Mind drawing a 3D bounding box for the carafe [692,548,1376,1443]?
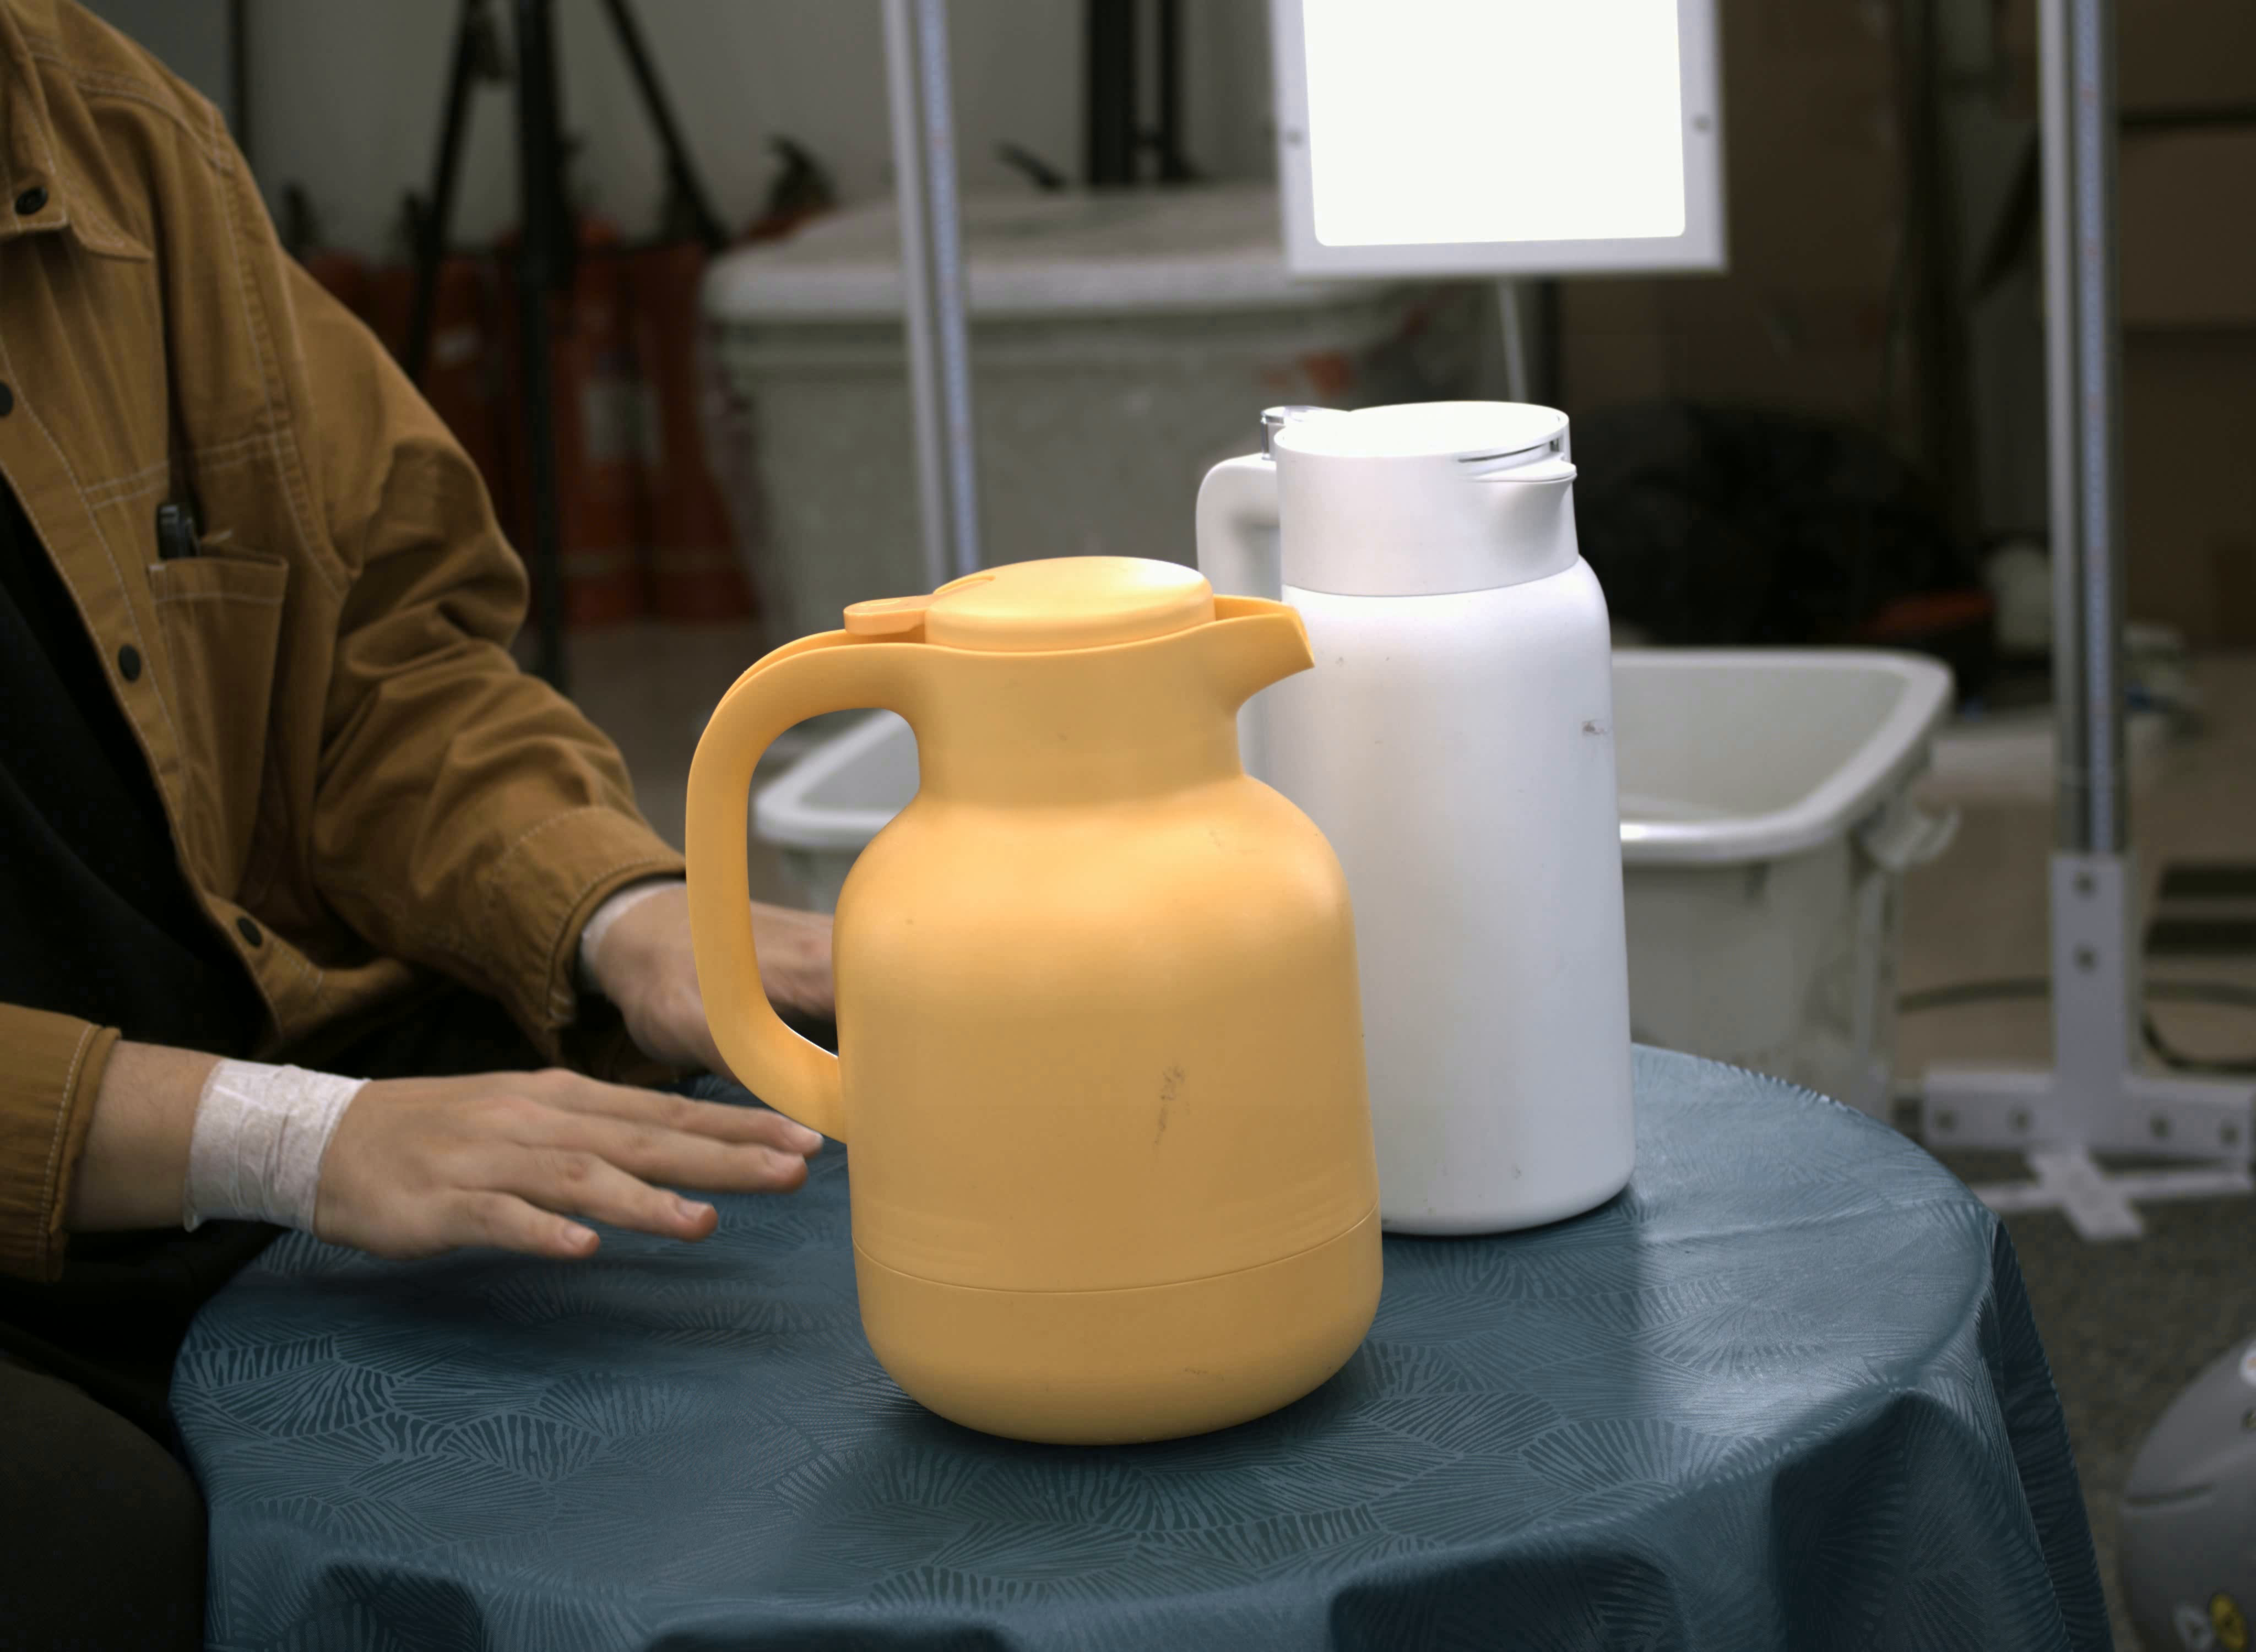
[{"bbox_3d":[-0.029,0.048,1.678,0.203,0.261,0.162,-2,11,6],"label":"carafe"}]

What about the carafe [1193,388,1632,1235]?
[{"bbox_3d":[0.093,-0.007,1.847,0.121,0.270,0.176,-18,19,-37],"label":"carafe"}]
